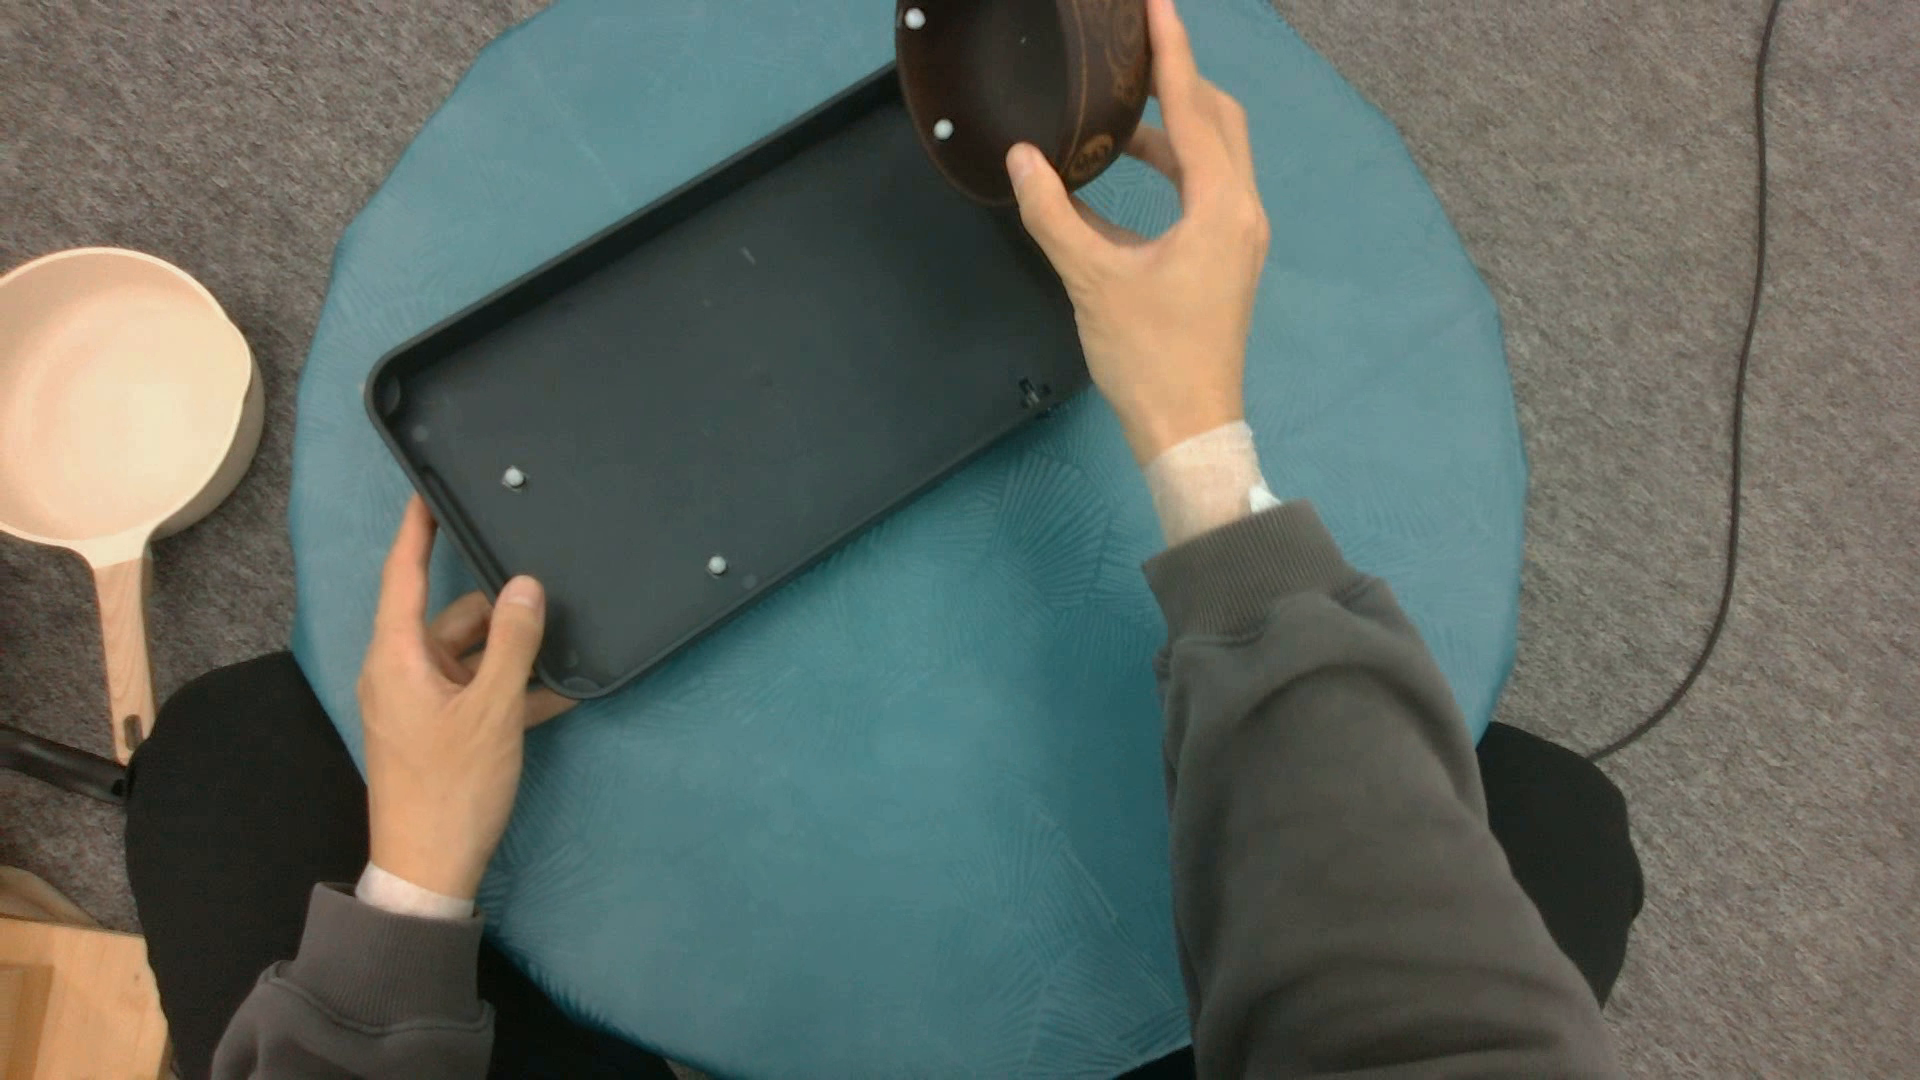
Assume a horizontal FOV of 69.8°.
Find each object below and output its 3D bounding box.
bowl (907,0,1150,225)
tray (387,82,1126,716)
[{"bbox_3d":[0.037,-0.200,0.589,0.070,0.117,0.118,-23,80,-27],"label":"bowl"},{"bbox_3d":[-0.092,-0.073,0.666,0.318,0.037,0.184,-35,84,-11],"label":"tray"}]
